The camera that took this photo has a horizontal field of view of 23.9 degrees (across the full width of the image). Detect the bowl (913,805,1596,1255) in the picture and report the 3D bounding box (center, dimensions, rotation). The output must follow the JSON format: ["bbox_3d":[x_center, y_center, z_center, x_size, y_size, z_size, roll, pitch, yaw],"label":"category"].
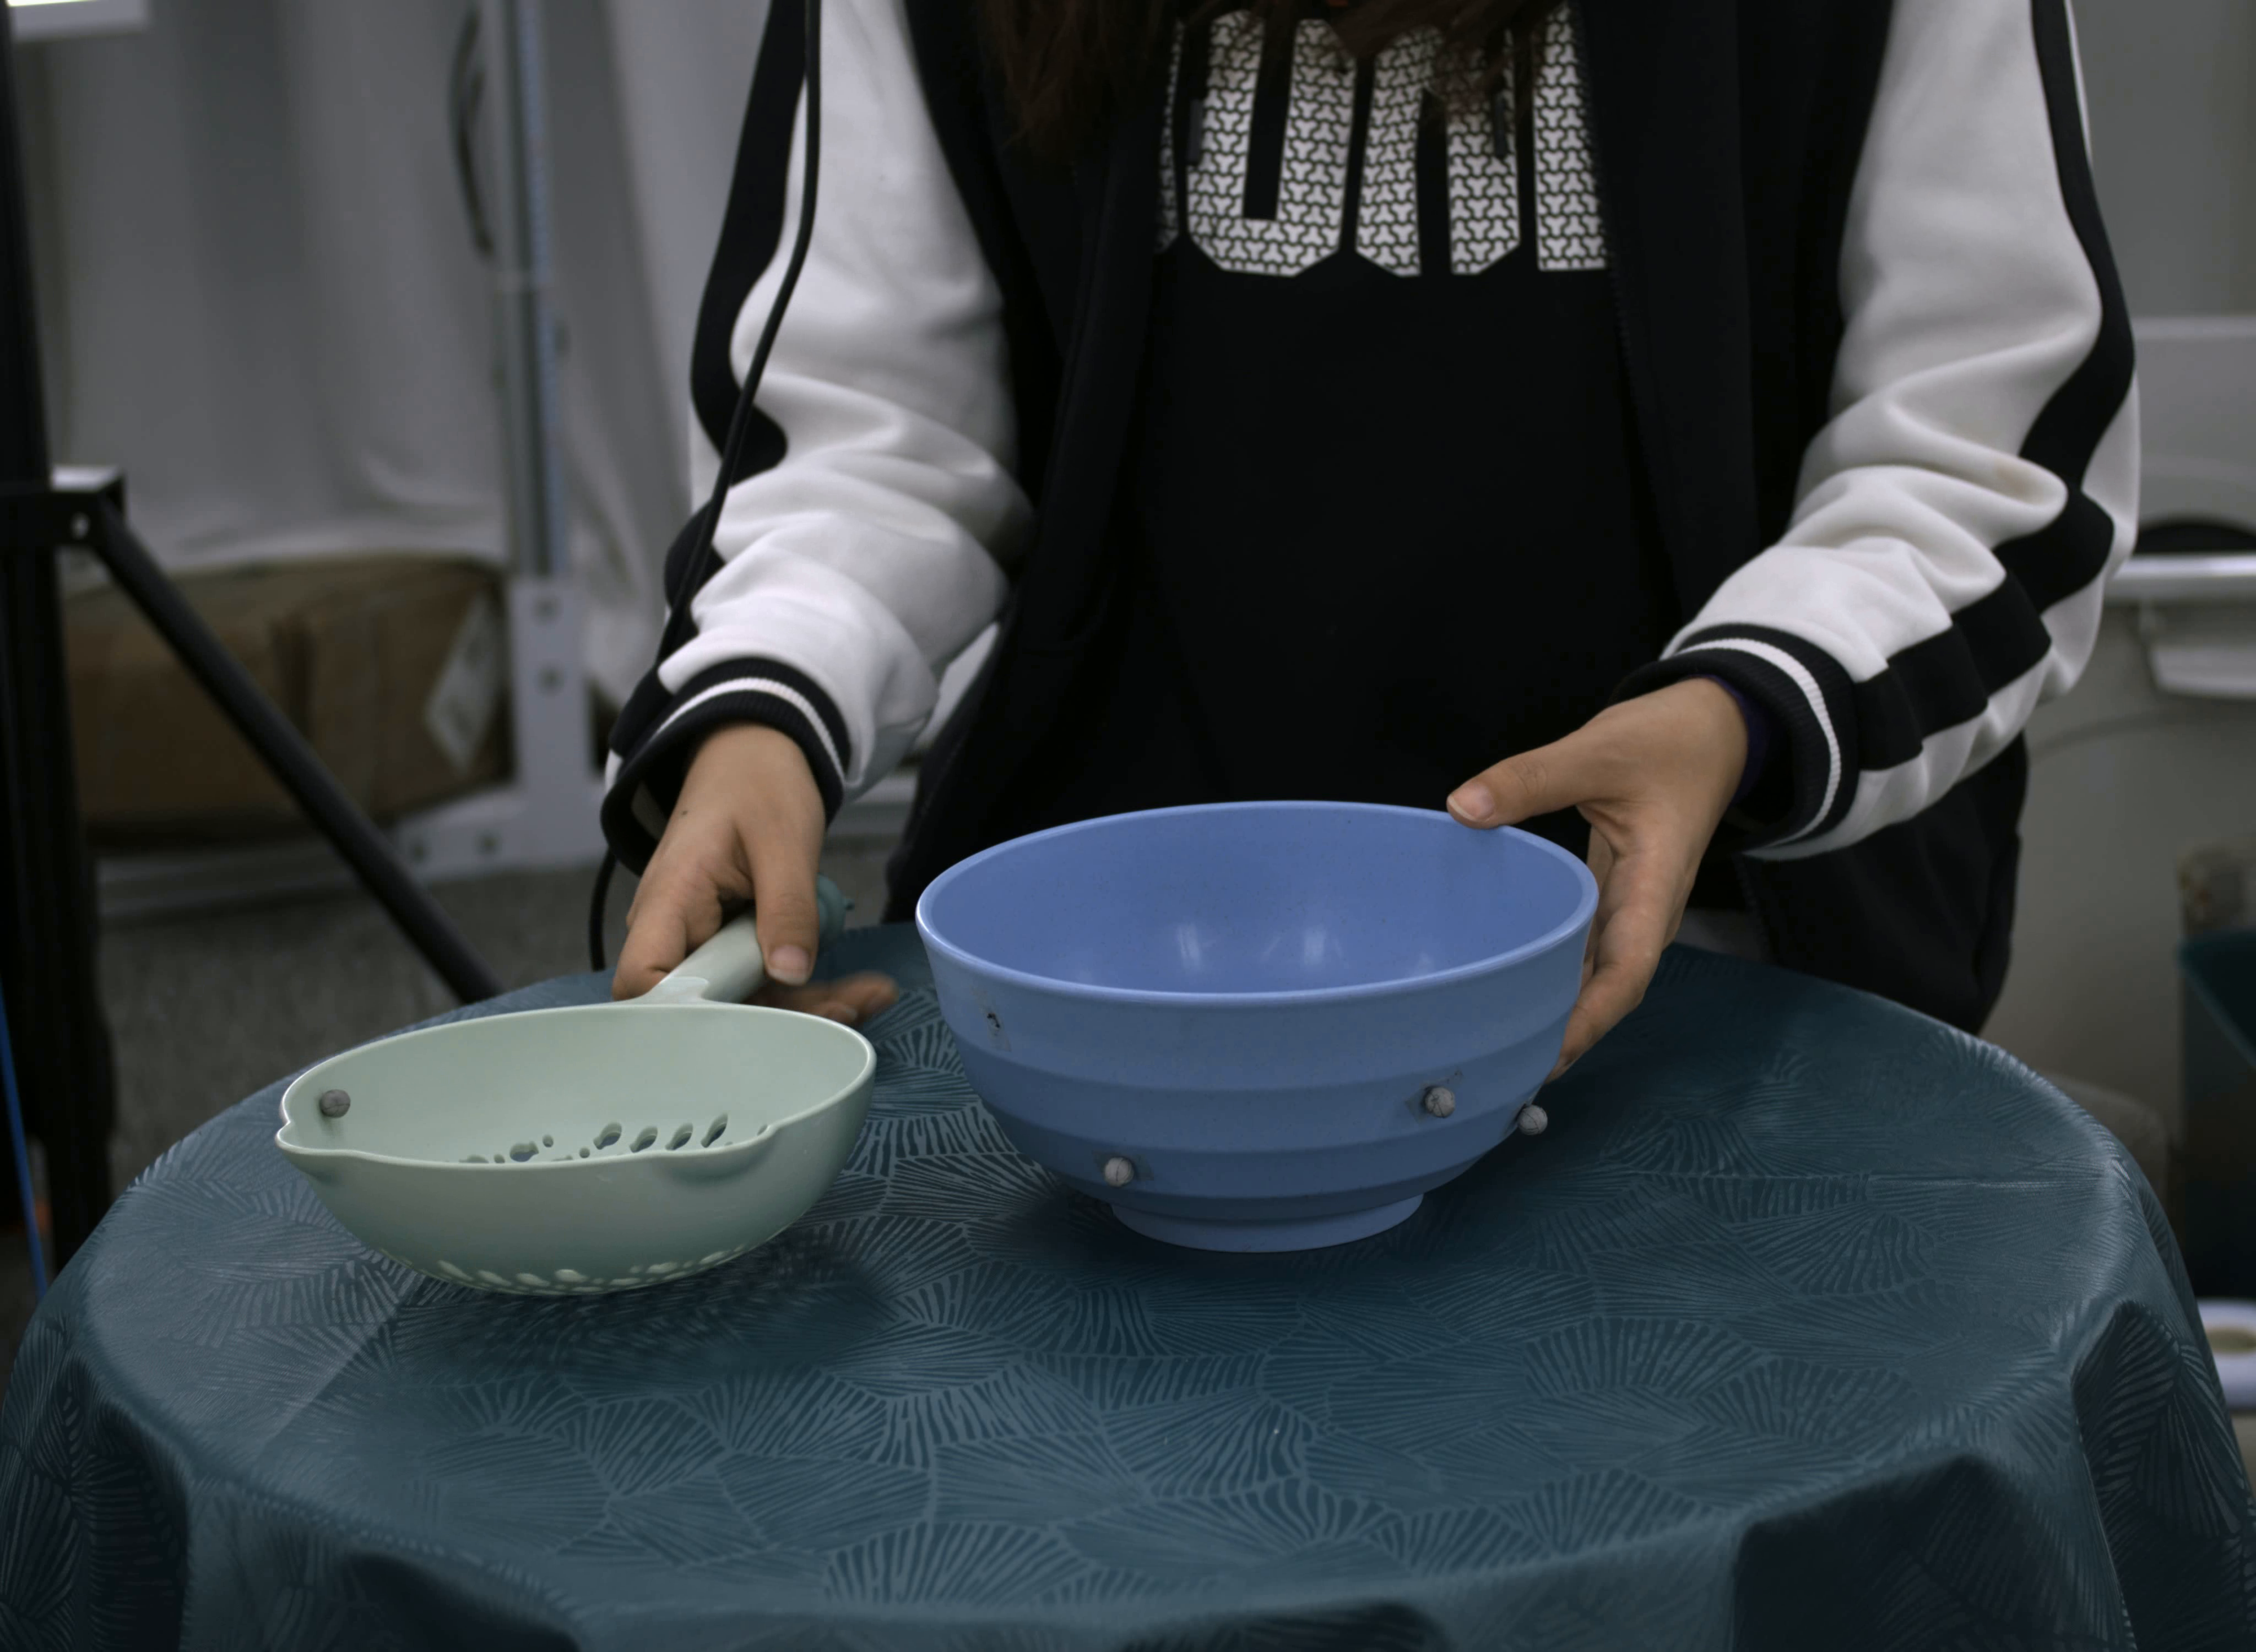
[{"bbox_3d":[0.038,0.064,1.533,0.195,0.095,0.197,-3,15,-1],"label":"bowl"}]

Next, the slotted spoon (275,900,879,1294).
[{"bbox_3d":[-0.134,0.065,1.600,0.170,0.075,0.357,-1,19,13],"label":"slotted spoon"}]
